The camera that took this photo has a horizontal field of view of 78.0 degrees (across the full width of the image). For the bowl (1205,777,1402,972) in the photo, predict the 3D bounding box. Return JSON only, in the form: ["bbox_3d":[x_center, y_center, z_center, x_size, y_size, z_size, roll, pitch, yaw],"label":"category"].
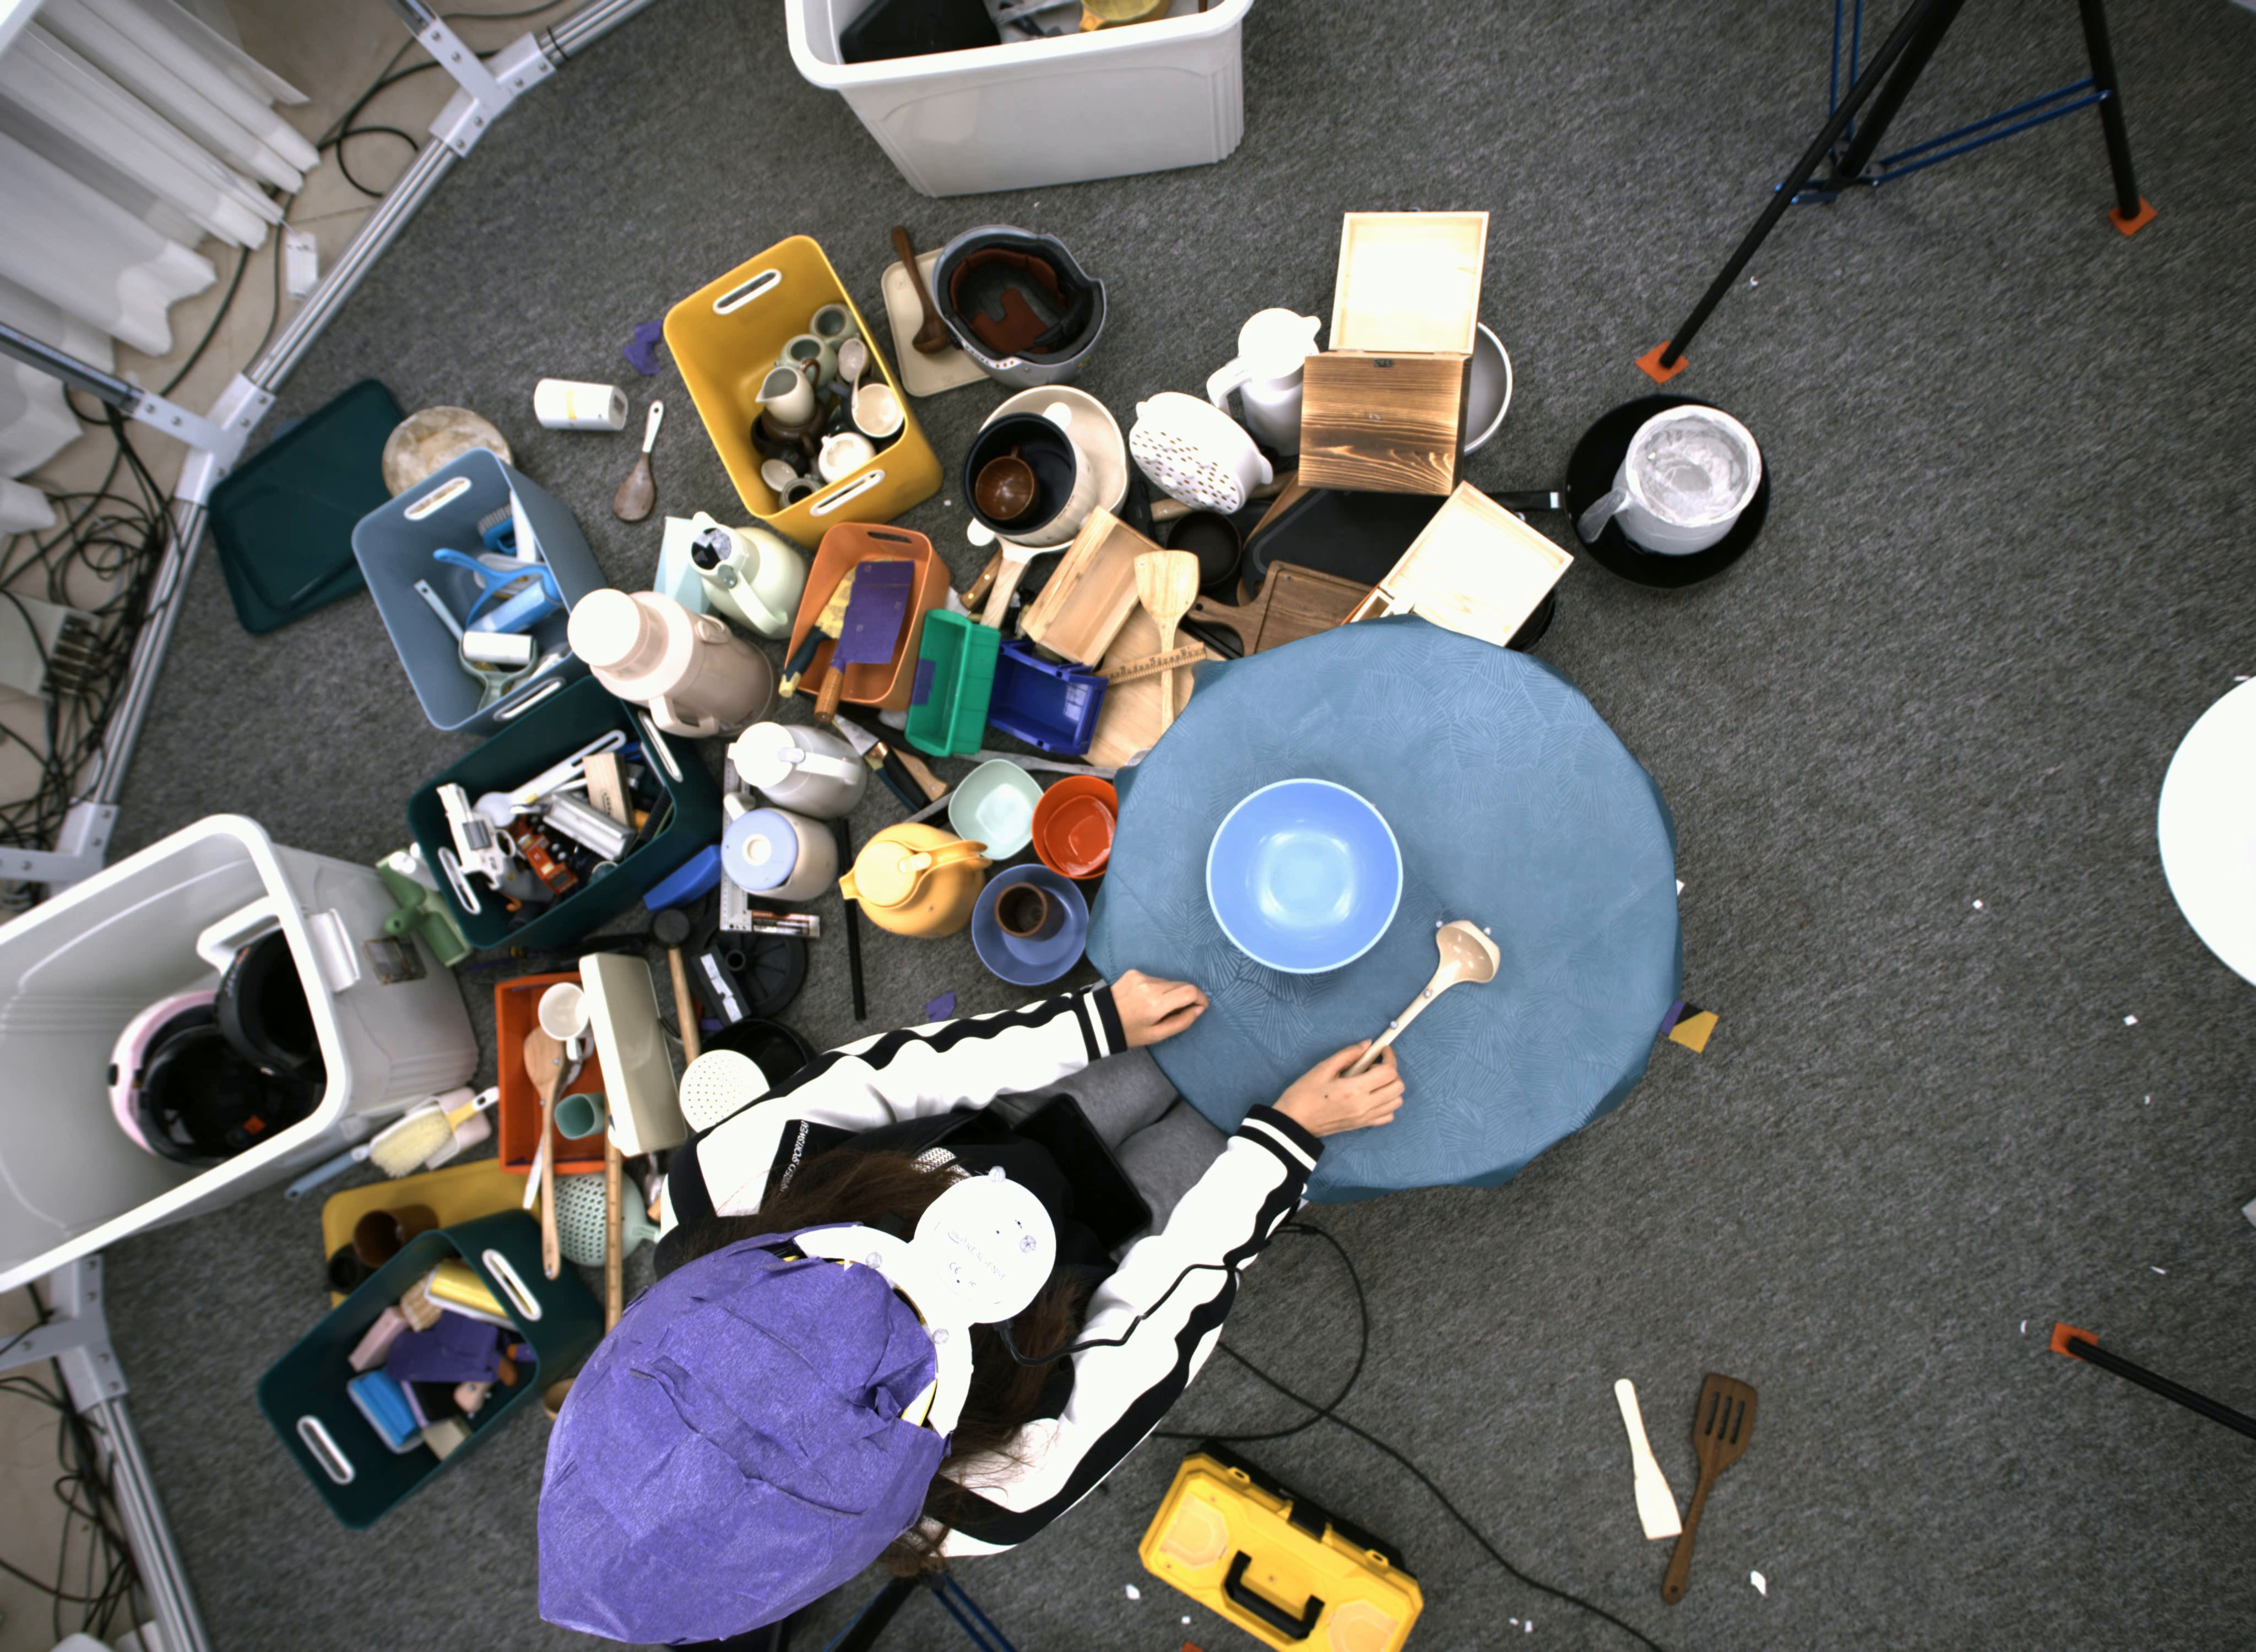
[{"bbox_3d":[0.182,0.054,1.429,0.197,0.096,0.195,-1,84,9],"label":"bowl"}]

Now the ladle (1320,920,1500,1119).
[{"bbox_3d":[0.279,0.201,1.412,0.071,0.073,0.255,42,93,16],"label":"ladle"}]
